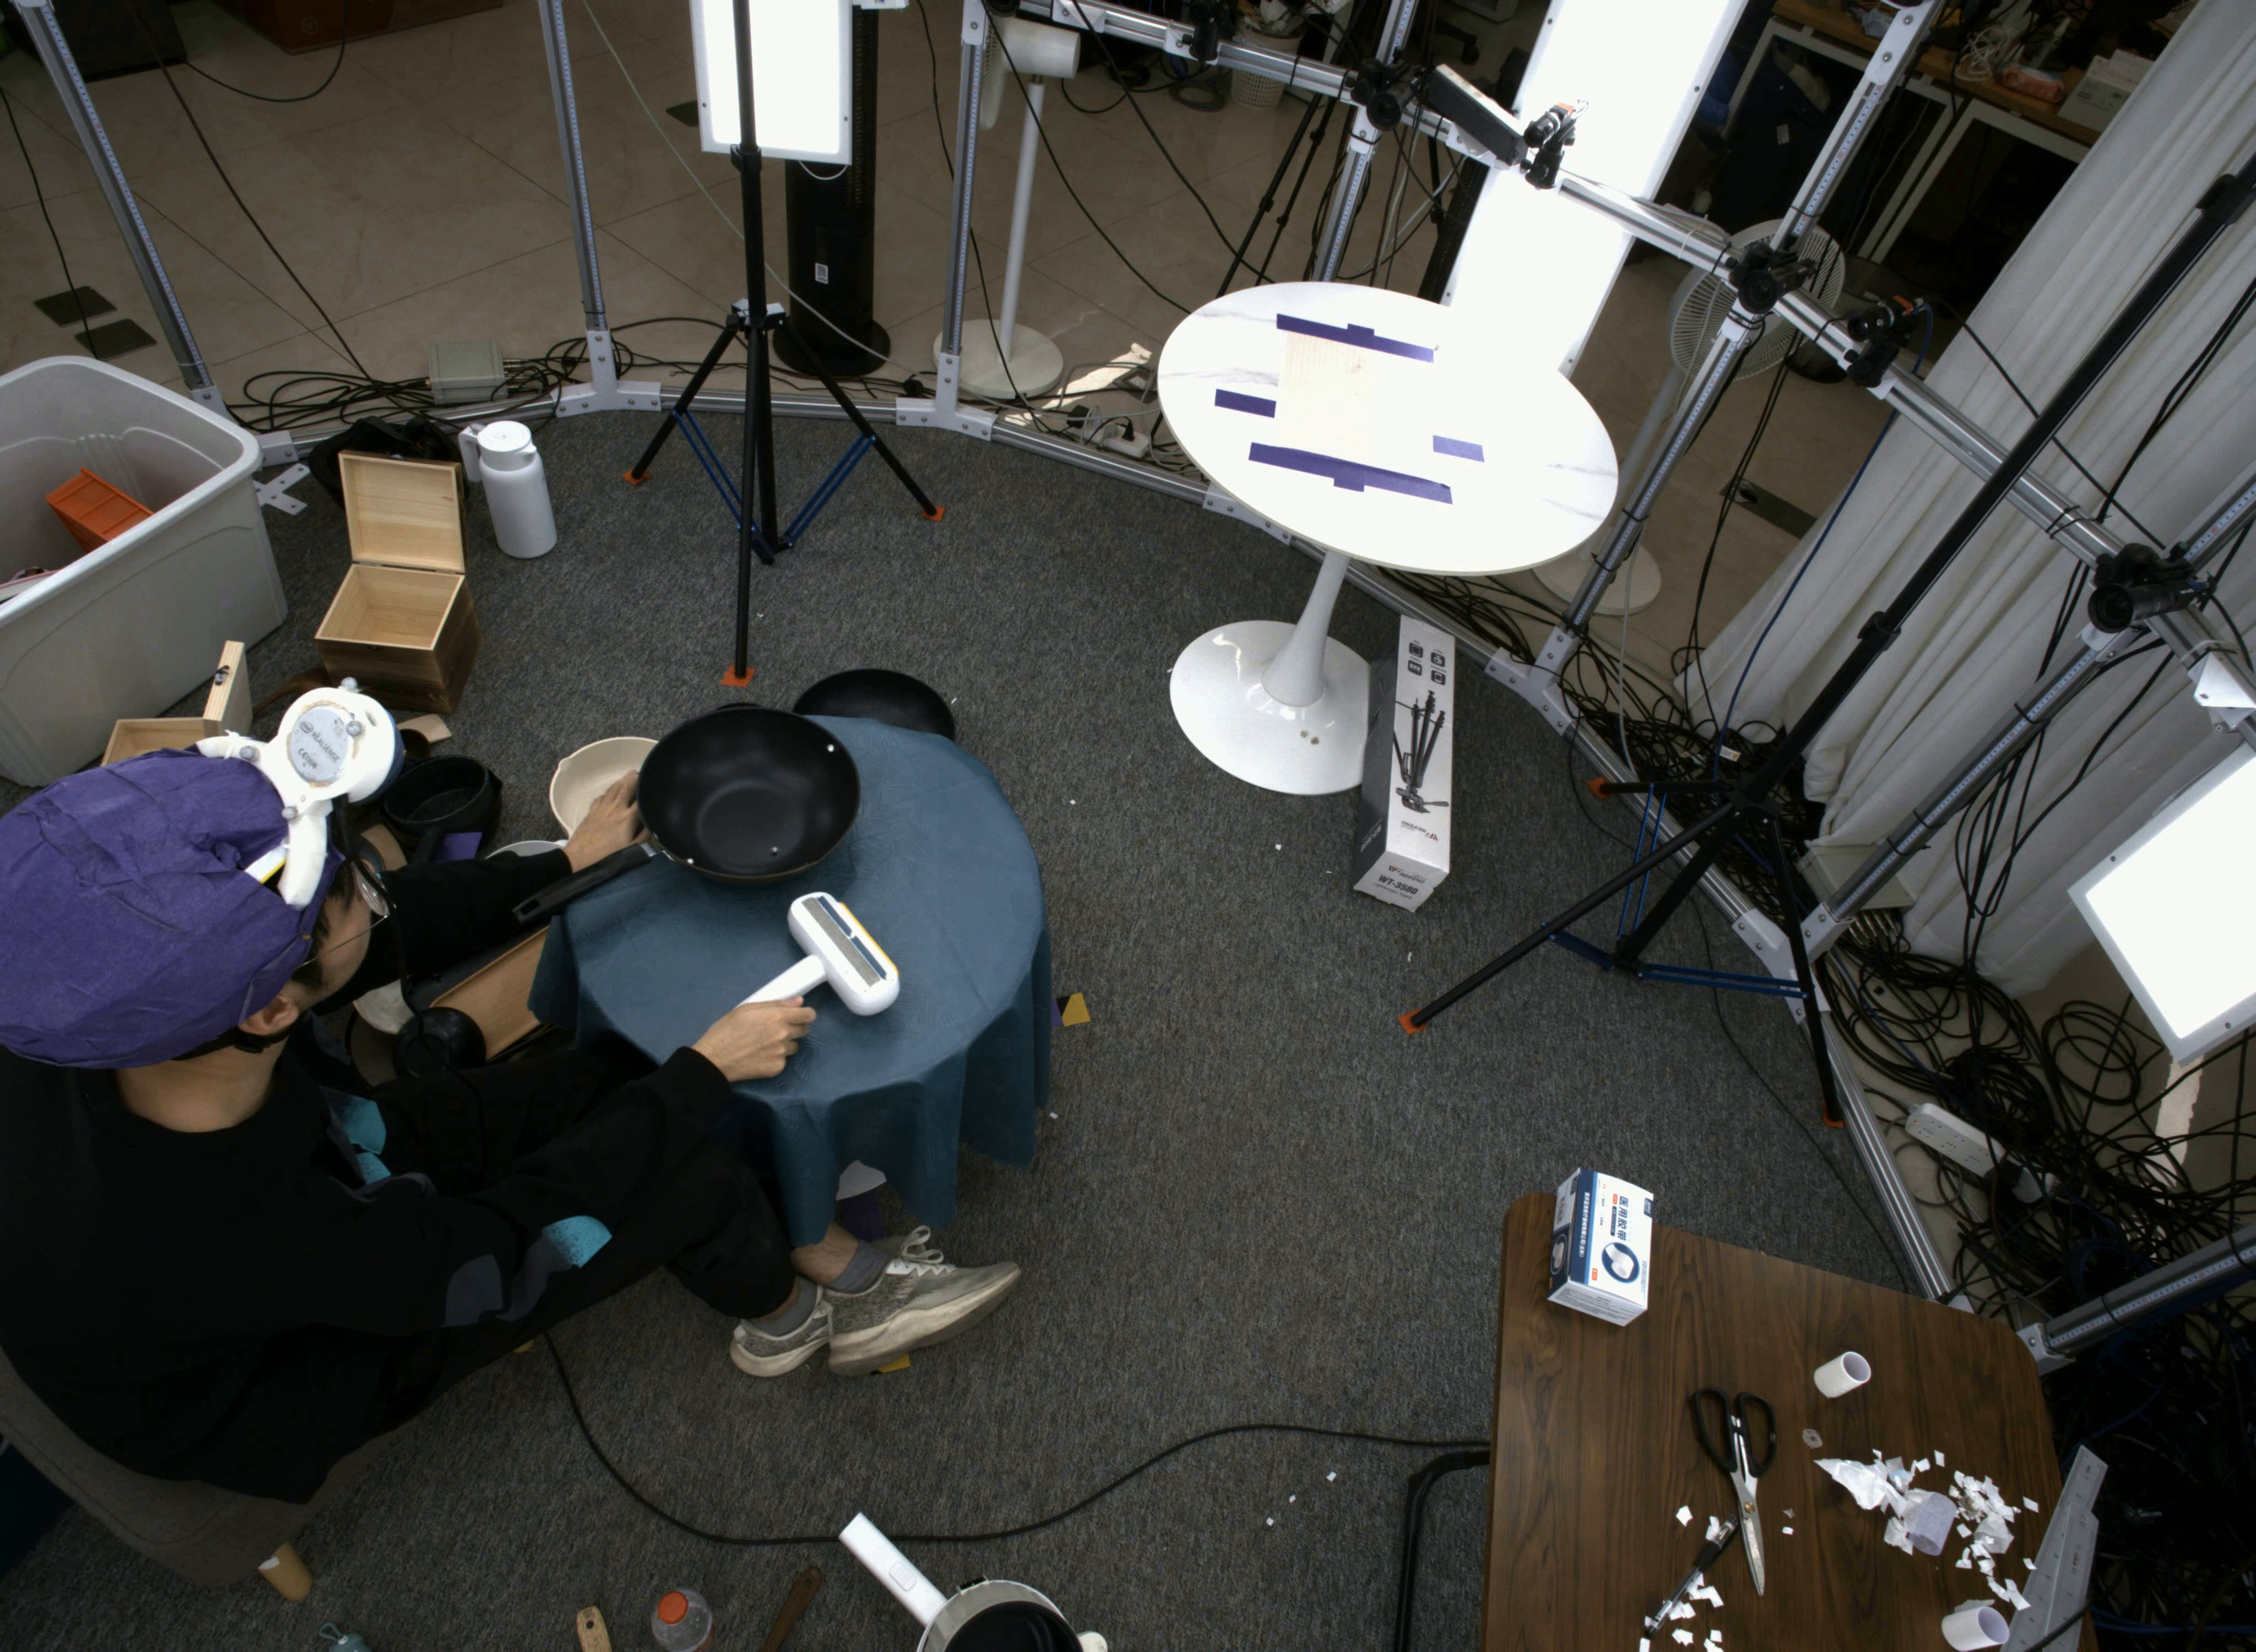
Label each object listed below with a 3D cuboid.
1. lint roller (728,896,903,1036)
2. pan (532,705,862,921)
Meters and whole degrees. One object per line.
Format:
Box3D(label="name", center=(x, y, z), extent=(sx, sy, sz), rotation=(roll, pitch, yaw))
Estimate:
Box3D(label="lint roller", center=(-0.391, 0.184, 1.559), extent=(0.193, 0.076, 0.187), rotation=(-25, 58, -27))
Box3D(label="pan", center=(-0.551, 0.017, 1.629), extent=(0.464, 0.088, 0.282), rotation=(-35, 69, -32))
